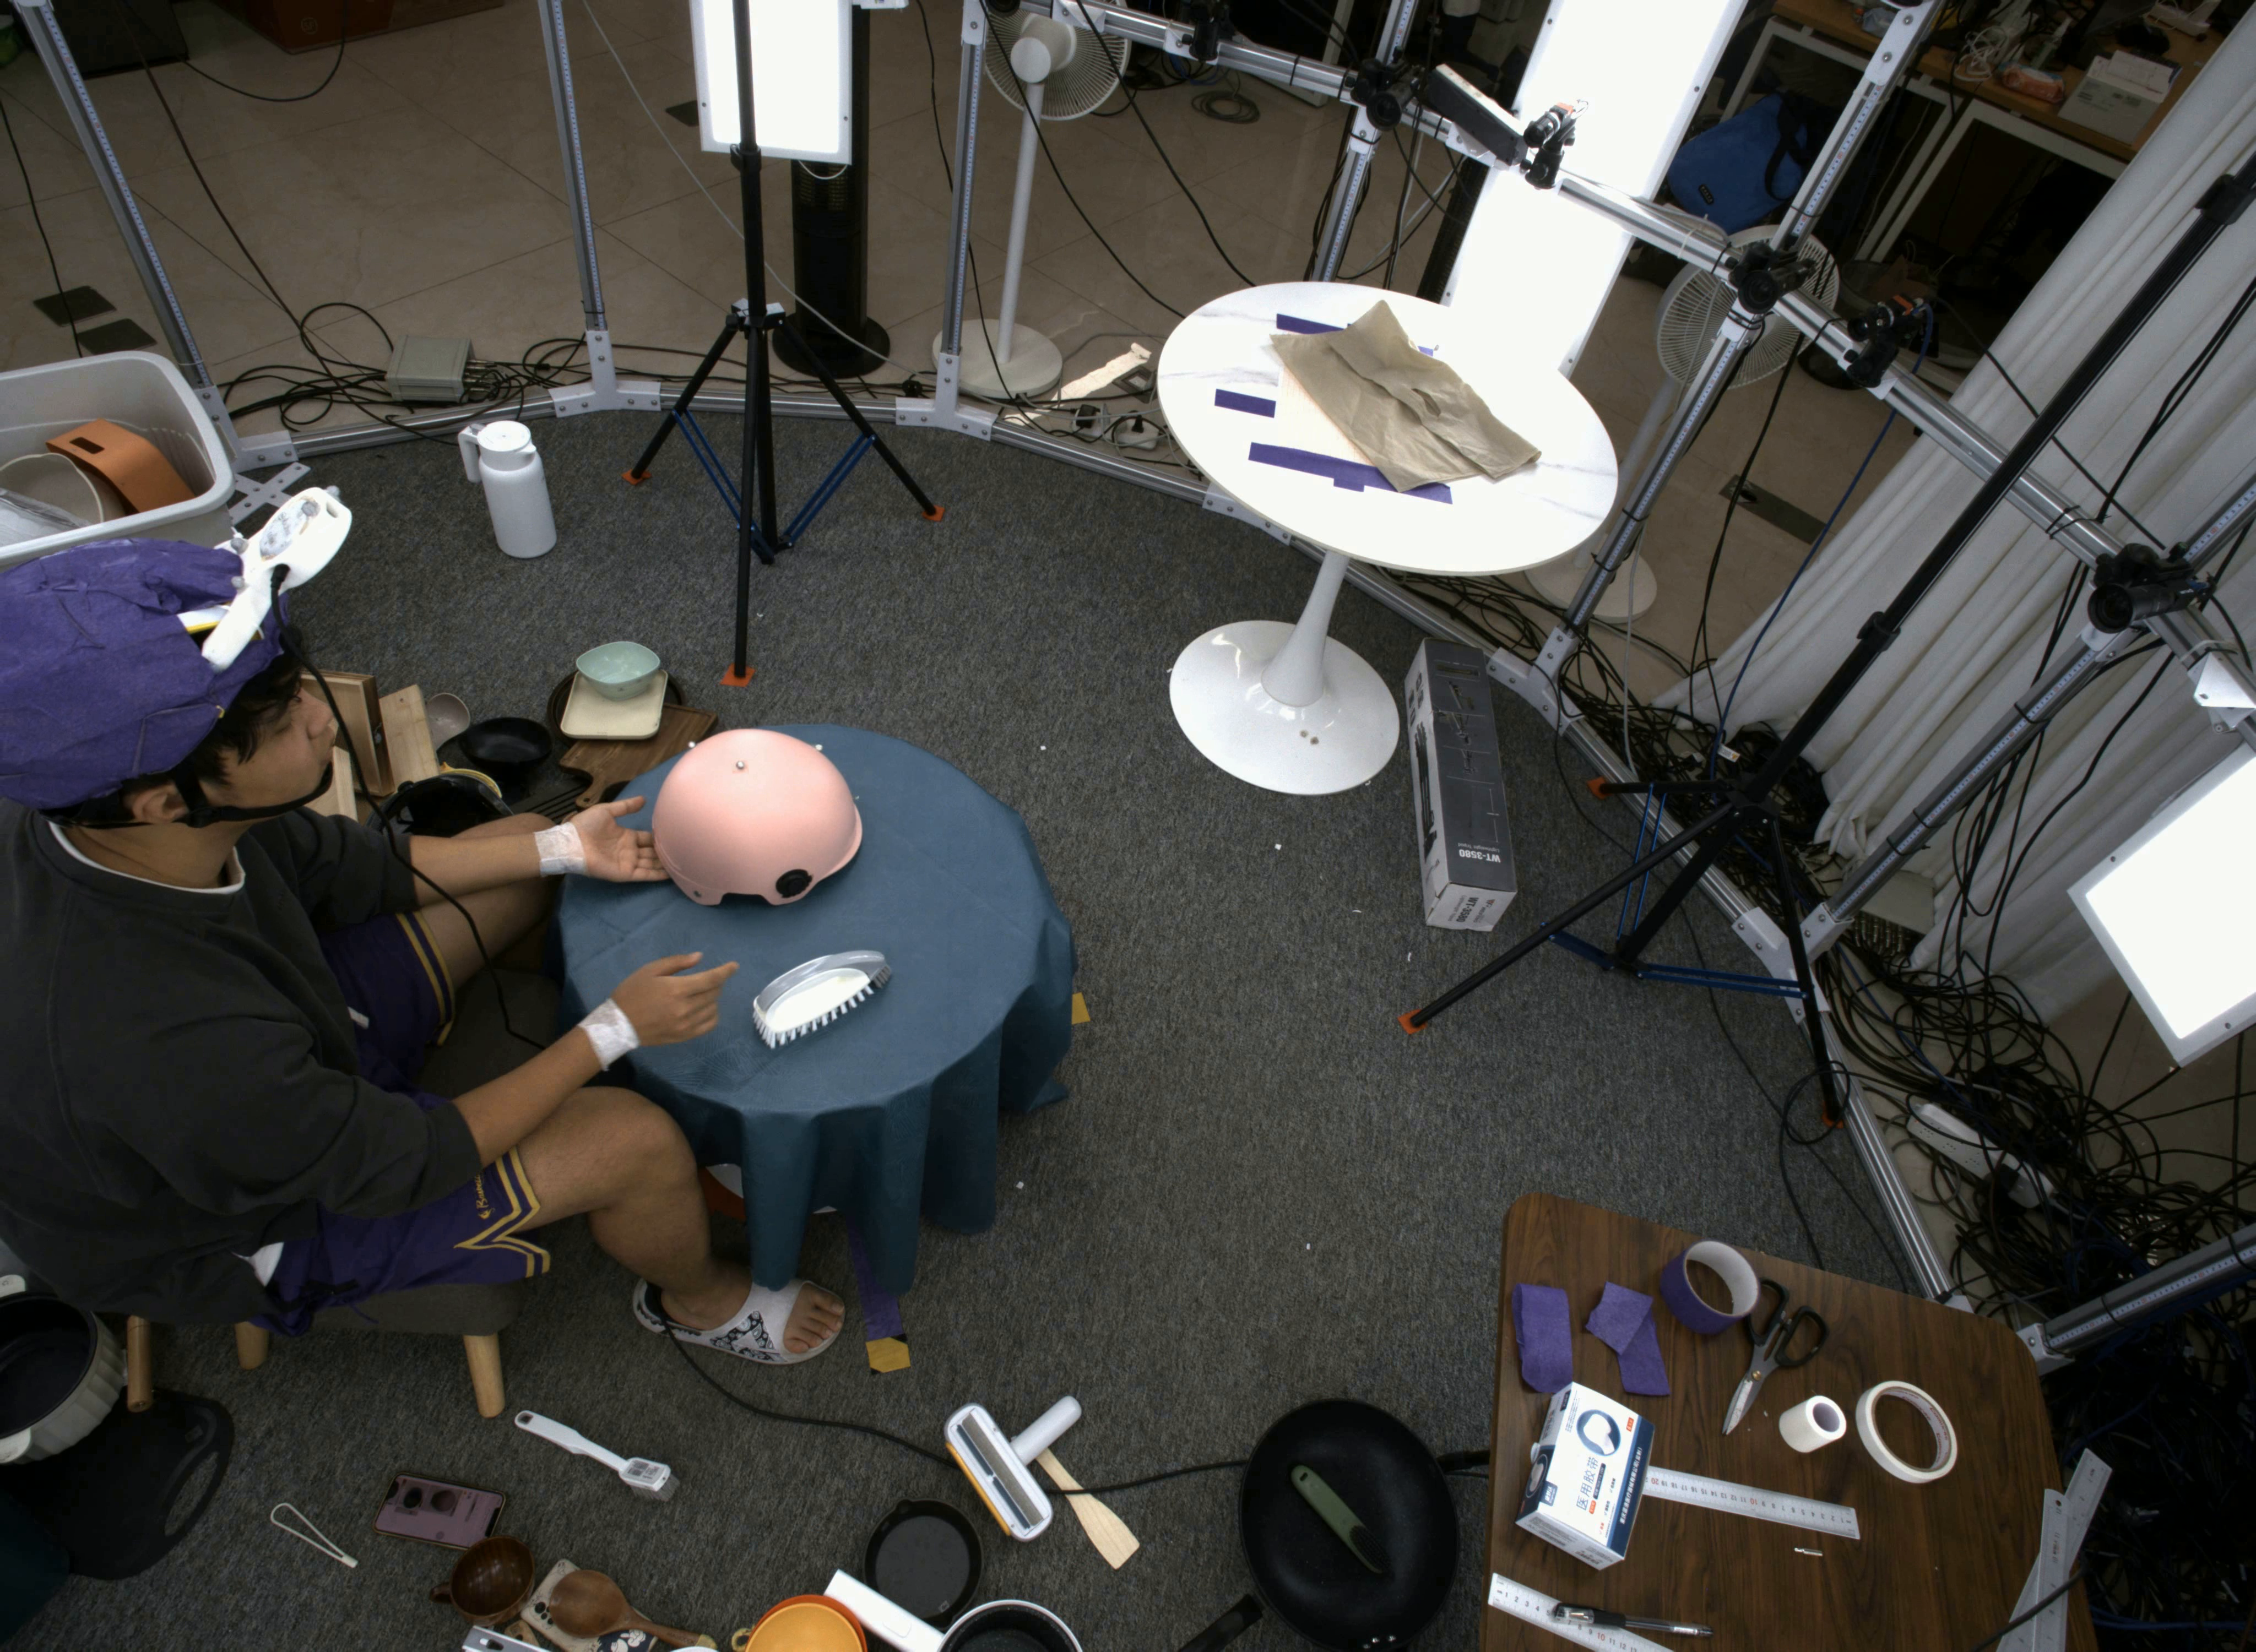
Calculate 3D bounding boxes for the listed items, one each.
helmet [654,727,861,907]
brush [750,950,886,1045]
[{"bbox_3d":[-0.469,-0.032,1.644,0.268,0.162,0.228,-8,55,-24],"label":"helmet"},{"bbox_3d":[-0.364,0.184,1.548,0.176,0.096,0.060,-24,61,-30],"label":"brush"}]
